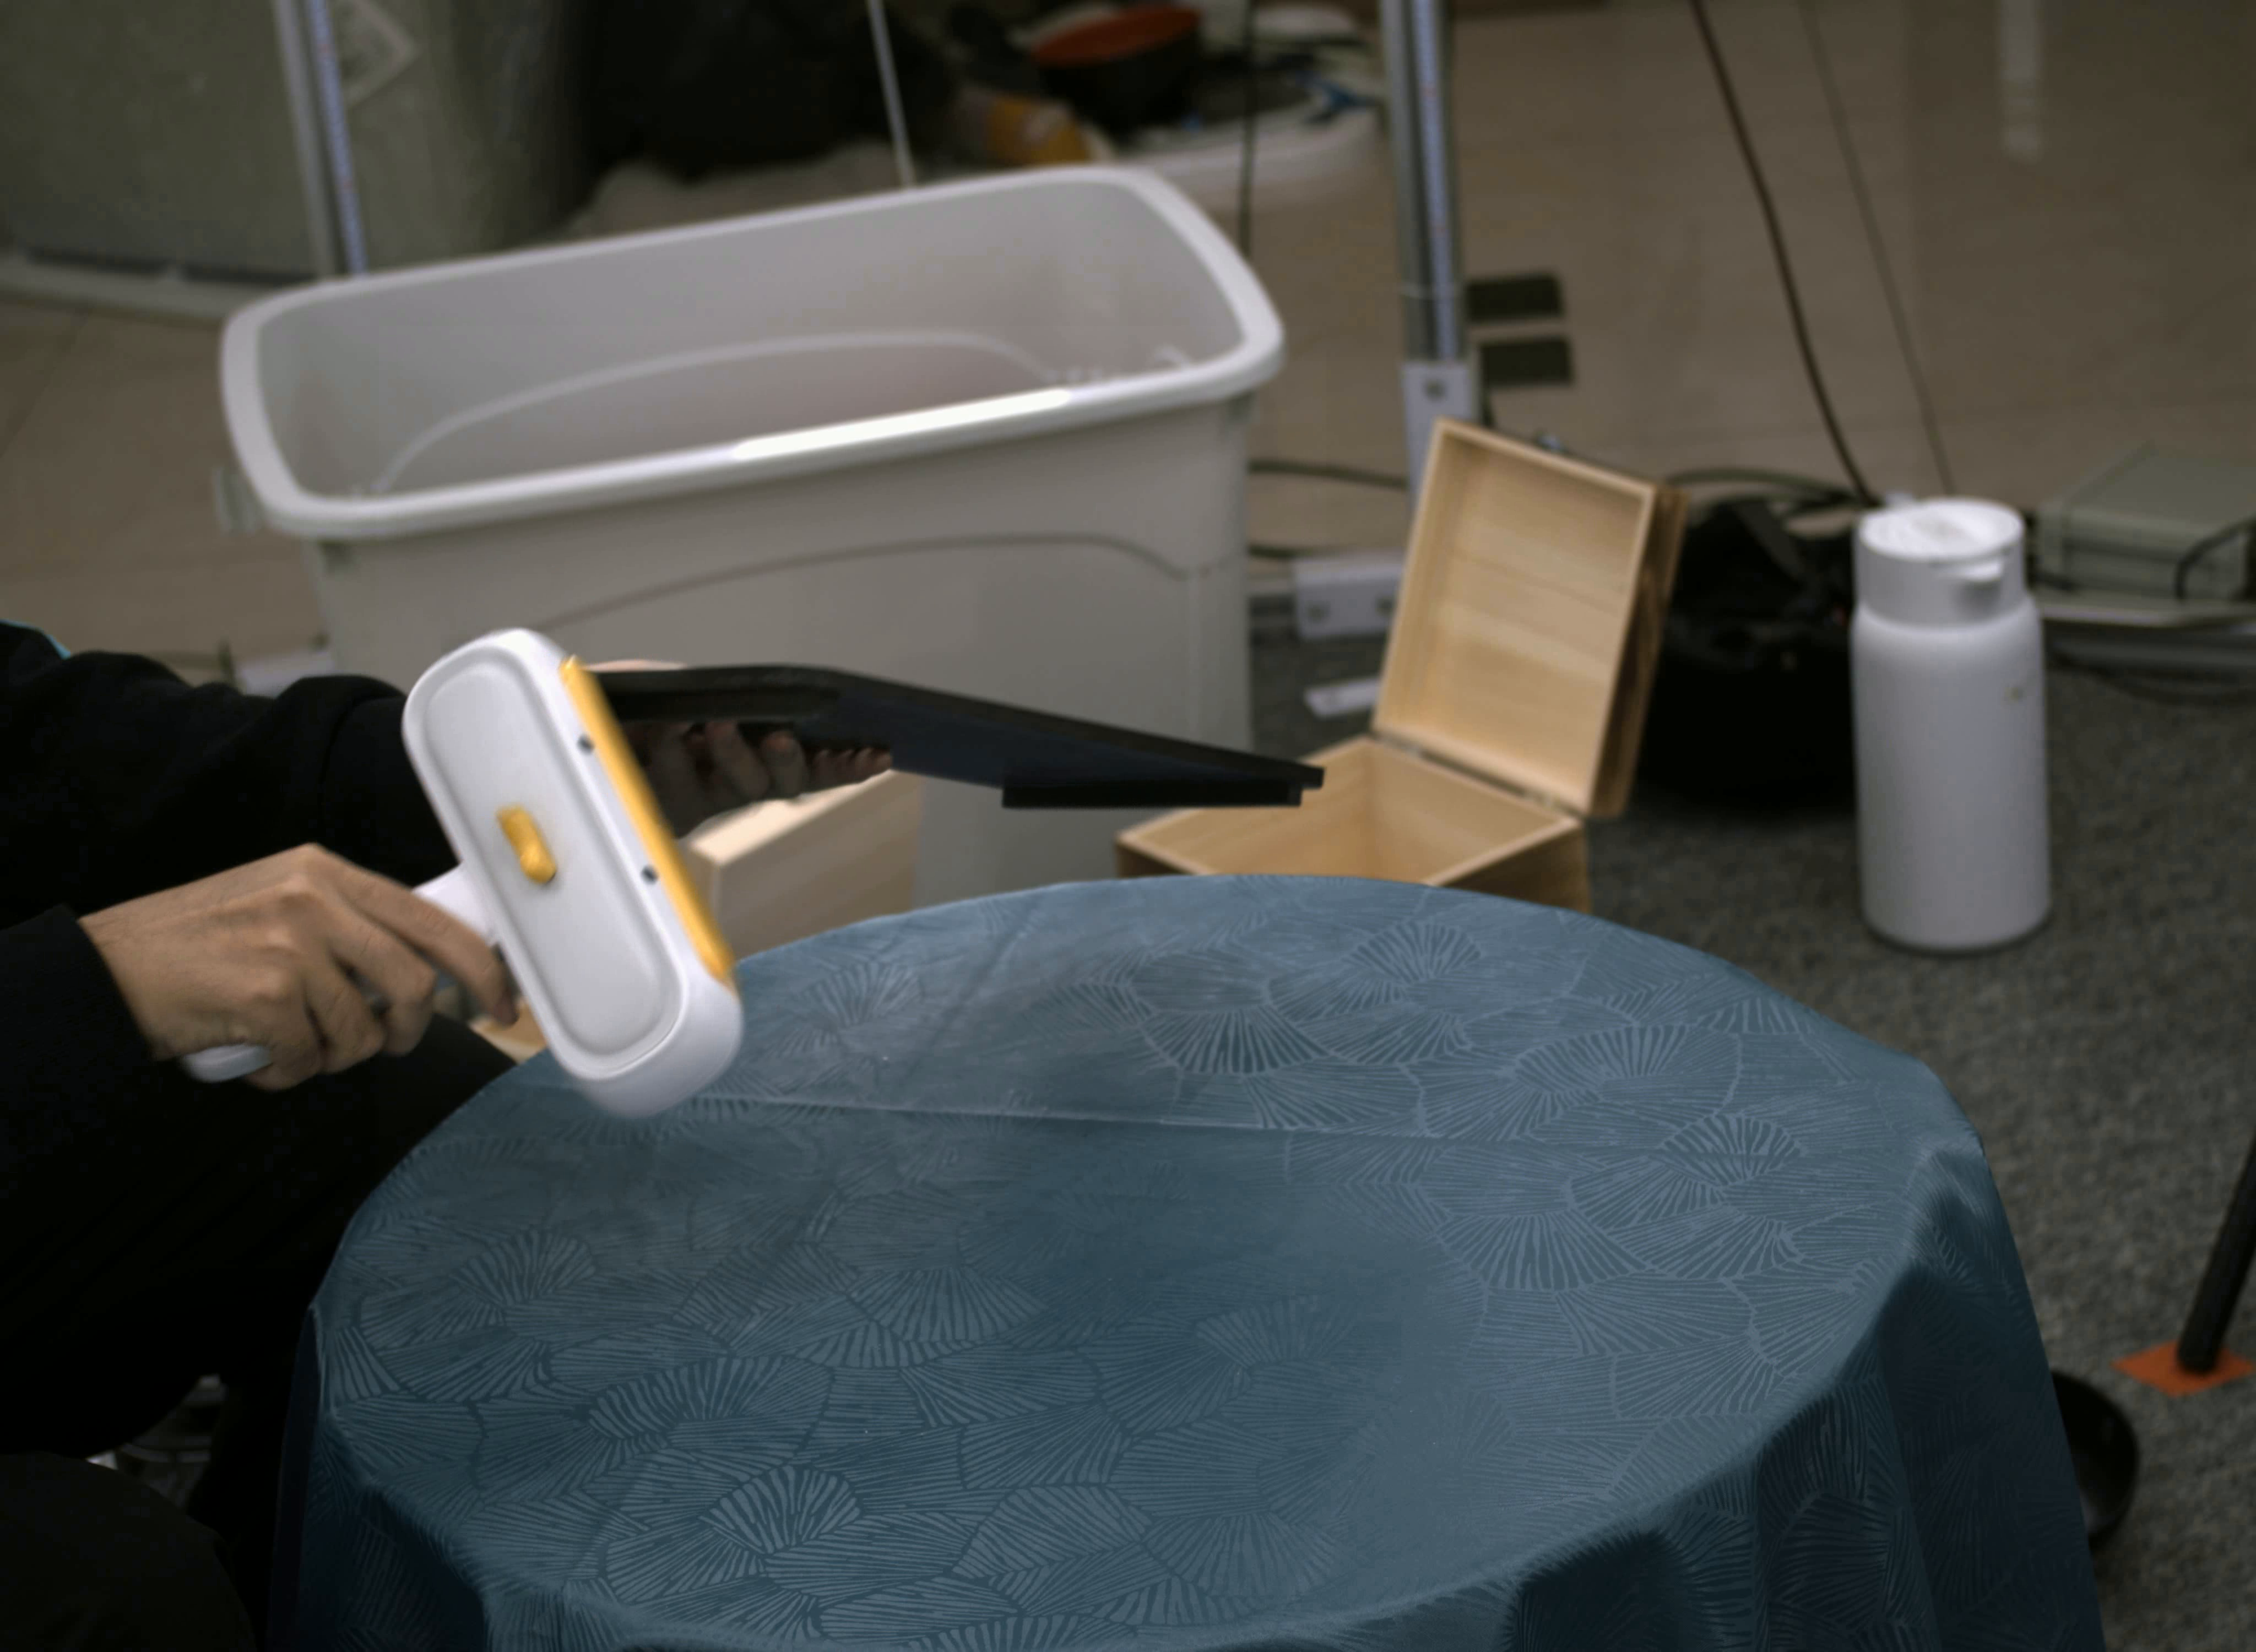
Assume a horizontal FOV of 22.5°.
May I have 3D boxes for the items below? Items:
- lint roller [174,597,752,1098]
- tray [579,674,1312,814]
[{"bbox_3d":[-0.251,0.034,2.027,0.192,0.191,0.074,-33,-15,4],"label":"lint roller"},{"bbox_3d":[-0.085,-0.030,2.165,0.170,0.018,0.307,1,-6,42],"label":"tray"}]
